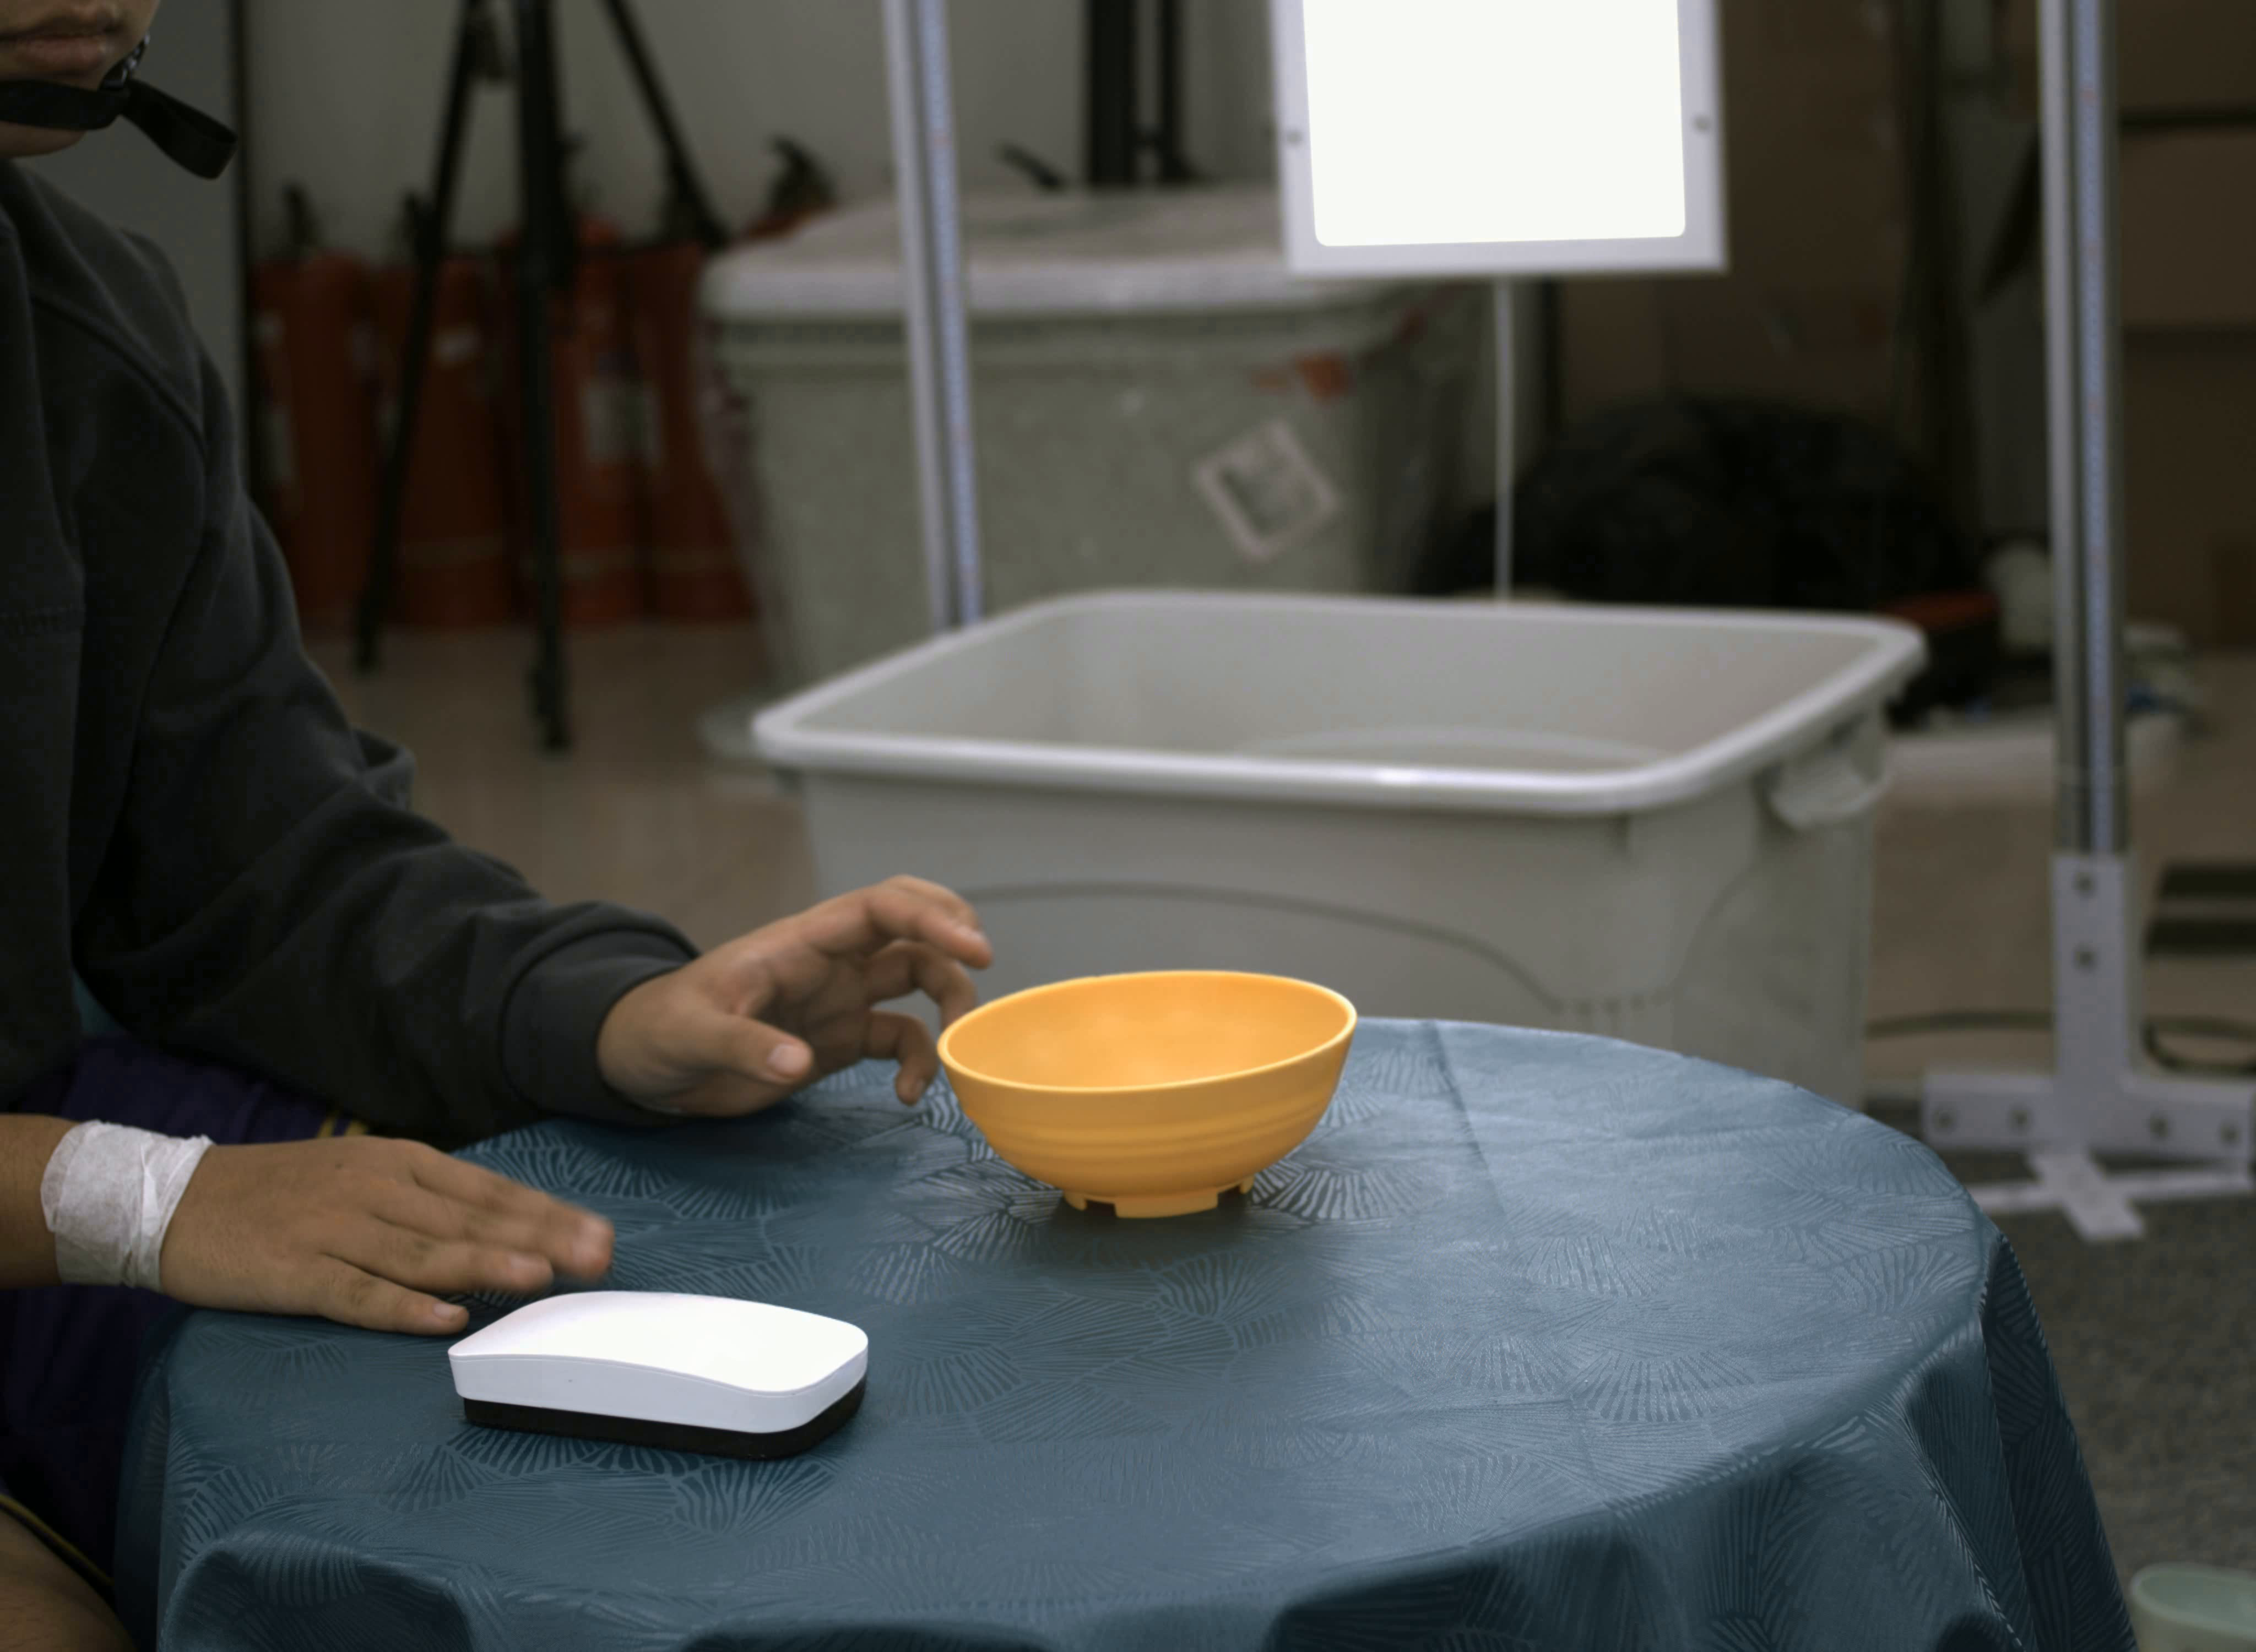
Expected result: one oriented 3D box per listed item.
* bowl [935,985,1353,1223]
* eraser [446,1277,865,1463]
[{"bbox_3d":[0.008,0.099,1.891,0.145,0.060,0.145,-6,12,0],"label":"bowl"},{"bbox_3d":[-0.146,0.168,1.715,0.134,0.034,0.062,4,16,31],"label":"eraser"}]
